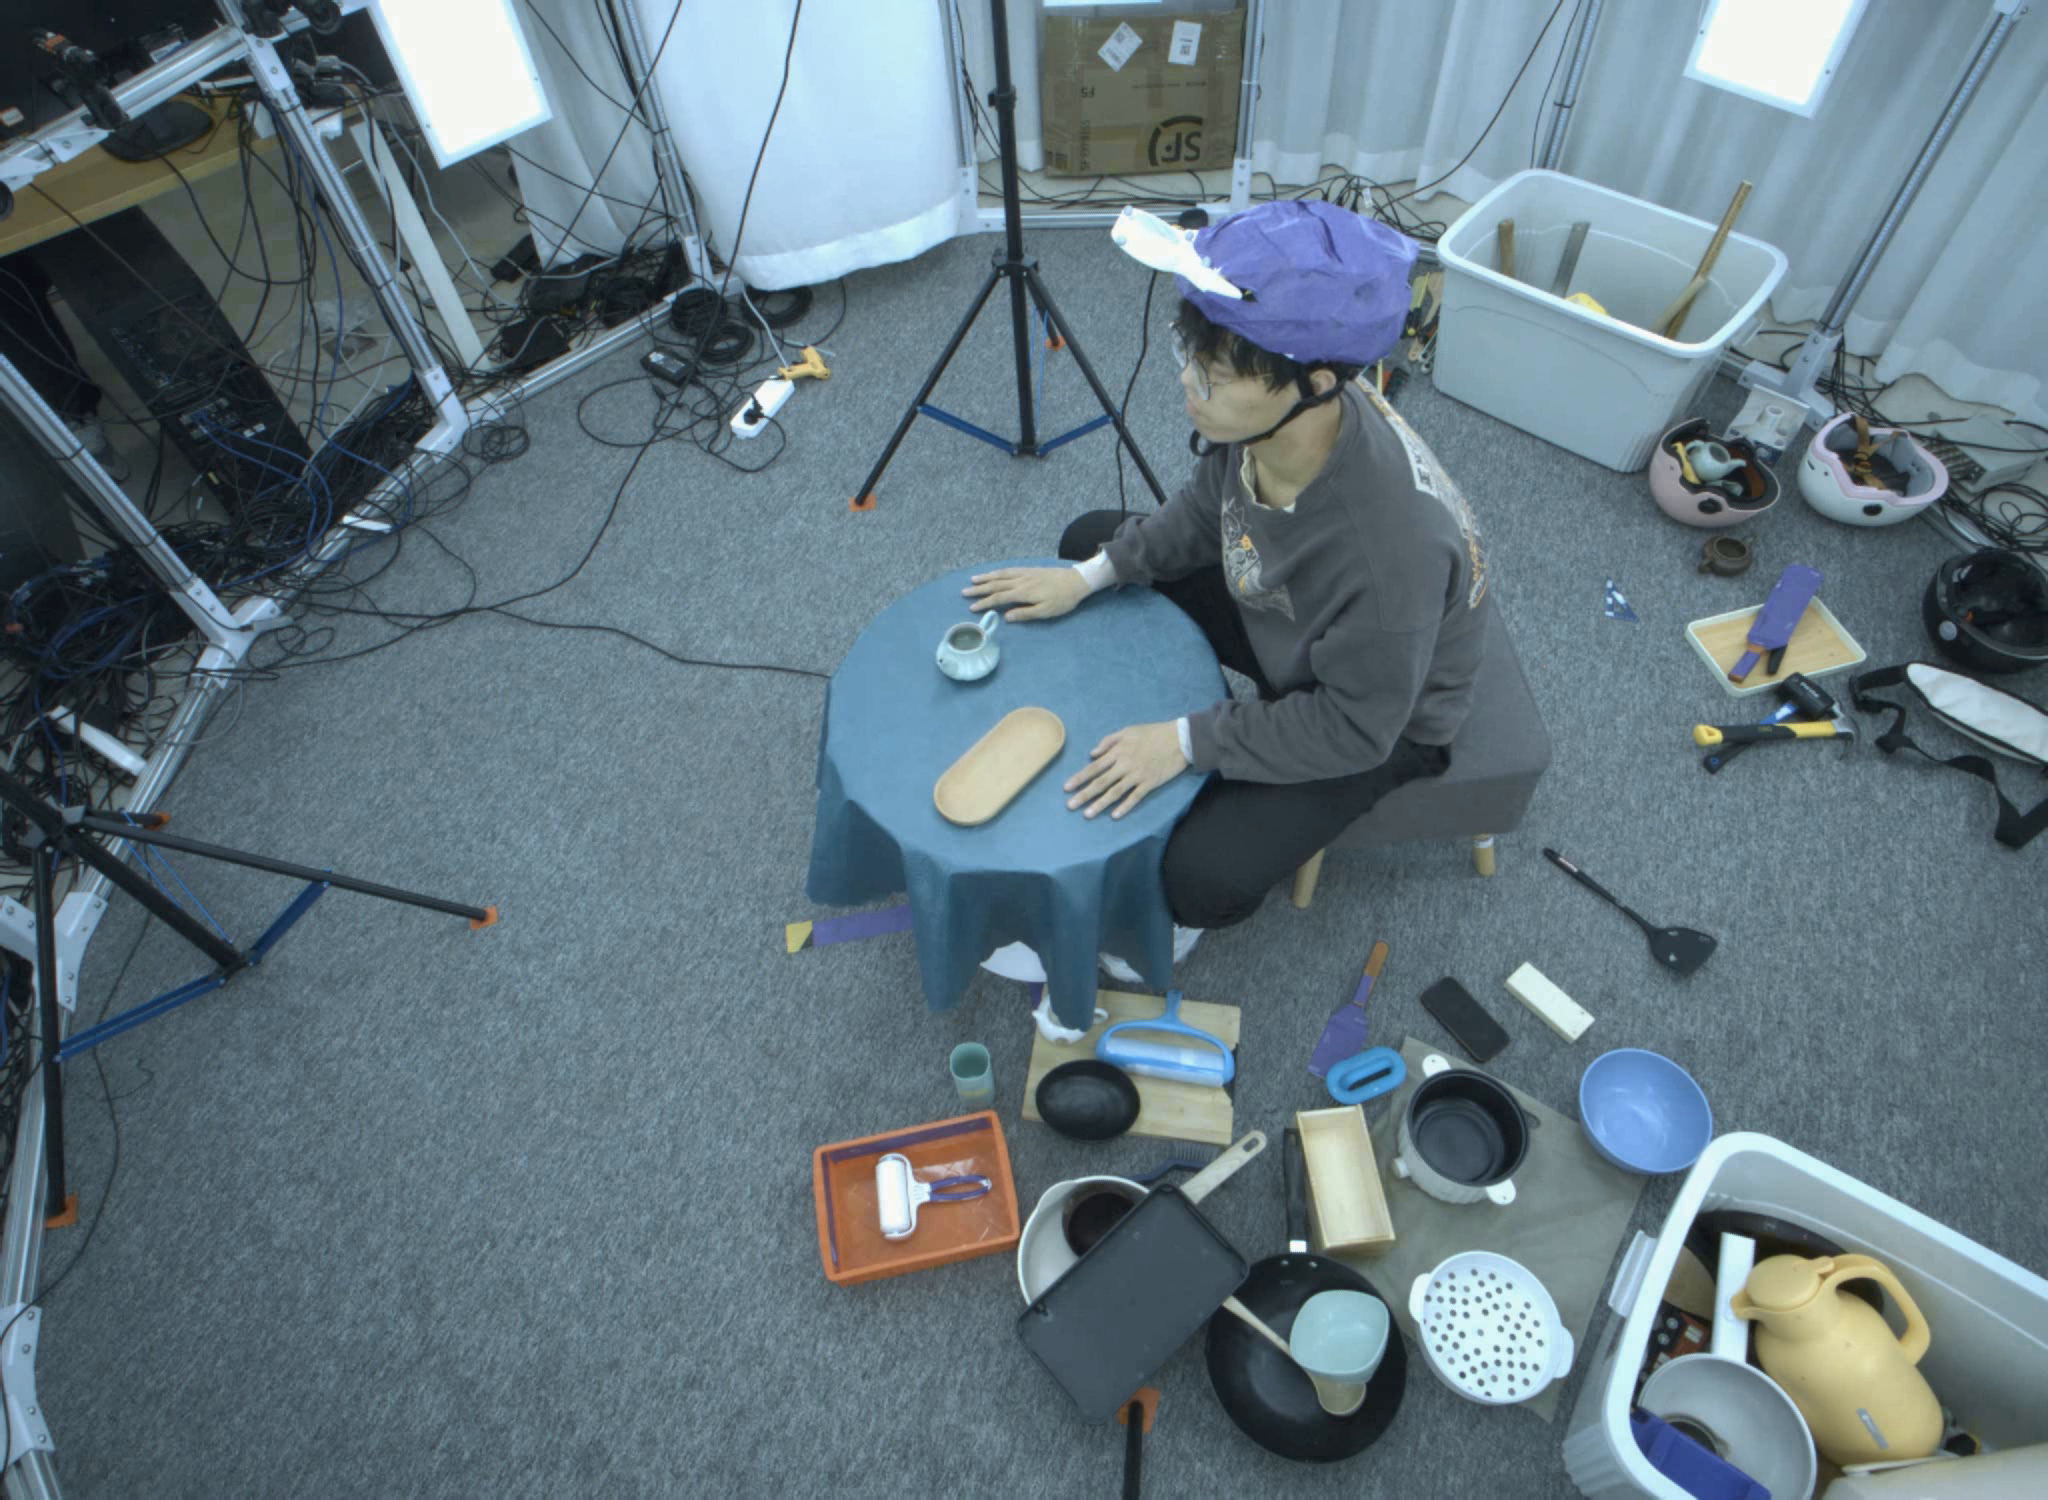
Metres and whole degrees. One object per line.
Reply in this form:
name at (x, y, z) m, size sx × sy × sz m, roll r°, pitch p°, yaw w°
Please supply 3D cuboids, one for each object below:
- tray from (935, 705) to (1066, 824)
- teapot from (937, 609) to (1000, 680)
tray at (-0.032, 0.020, 1.761) m, size 0.100 × 0.020 × 0.232 m, roll 34°, pitch 61°, yaw 23°
teapot at (-0.084, -0.157, 1.863) m, size 0.094 × 0.062 × 0.137 m, roll 27°, pitch 60°, yaw 22°
